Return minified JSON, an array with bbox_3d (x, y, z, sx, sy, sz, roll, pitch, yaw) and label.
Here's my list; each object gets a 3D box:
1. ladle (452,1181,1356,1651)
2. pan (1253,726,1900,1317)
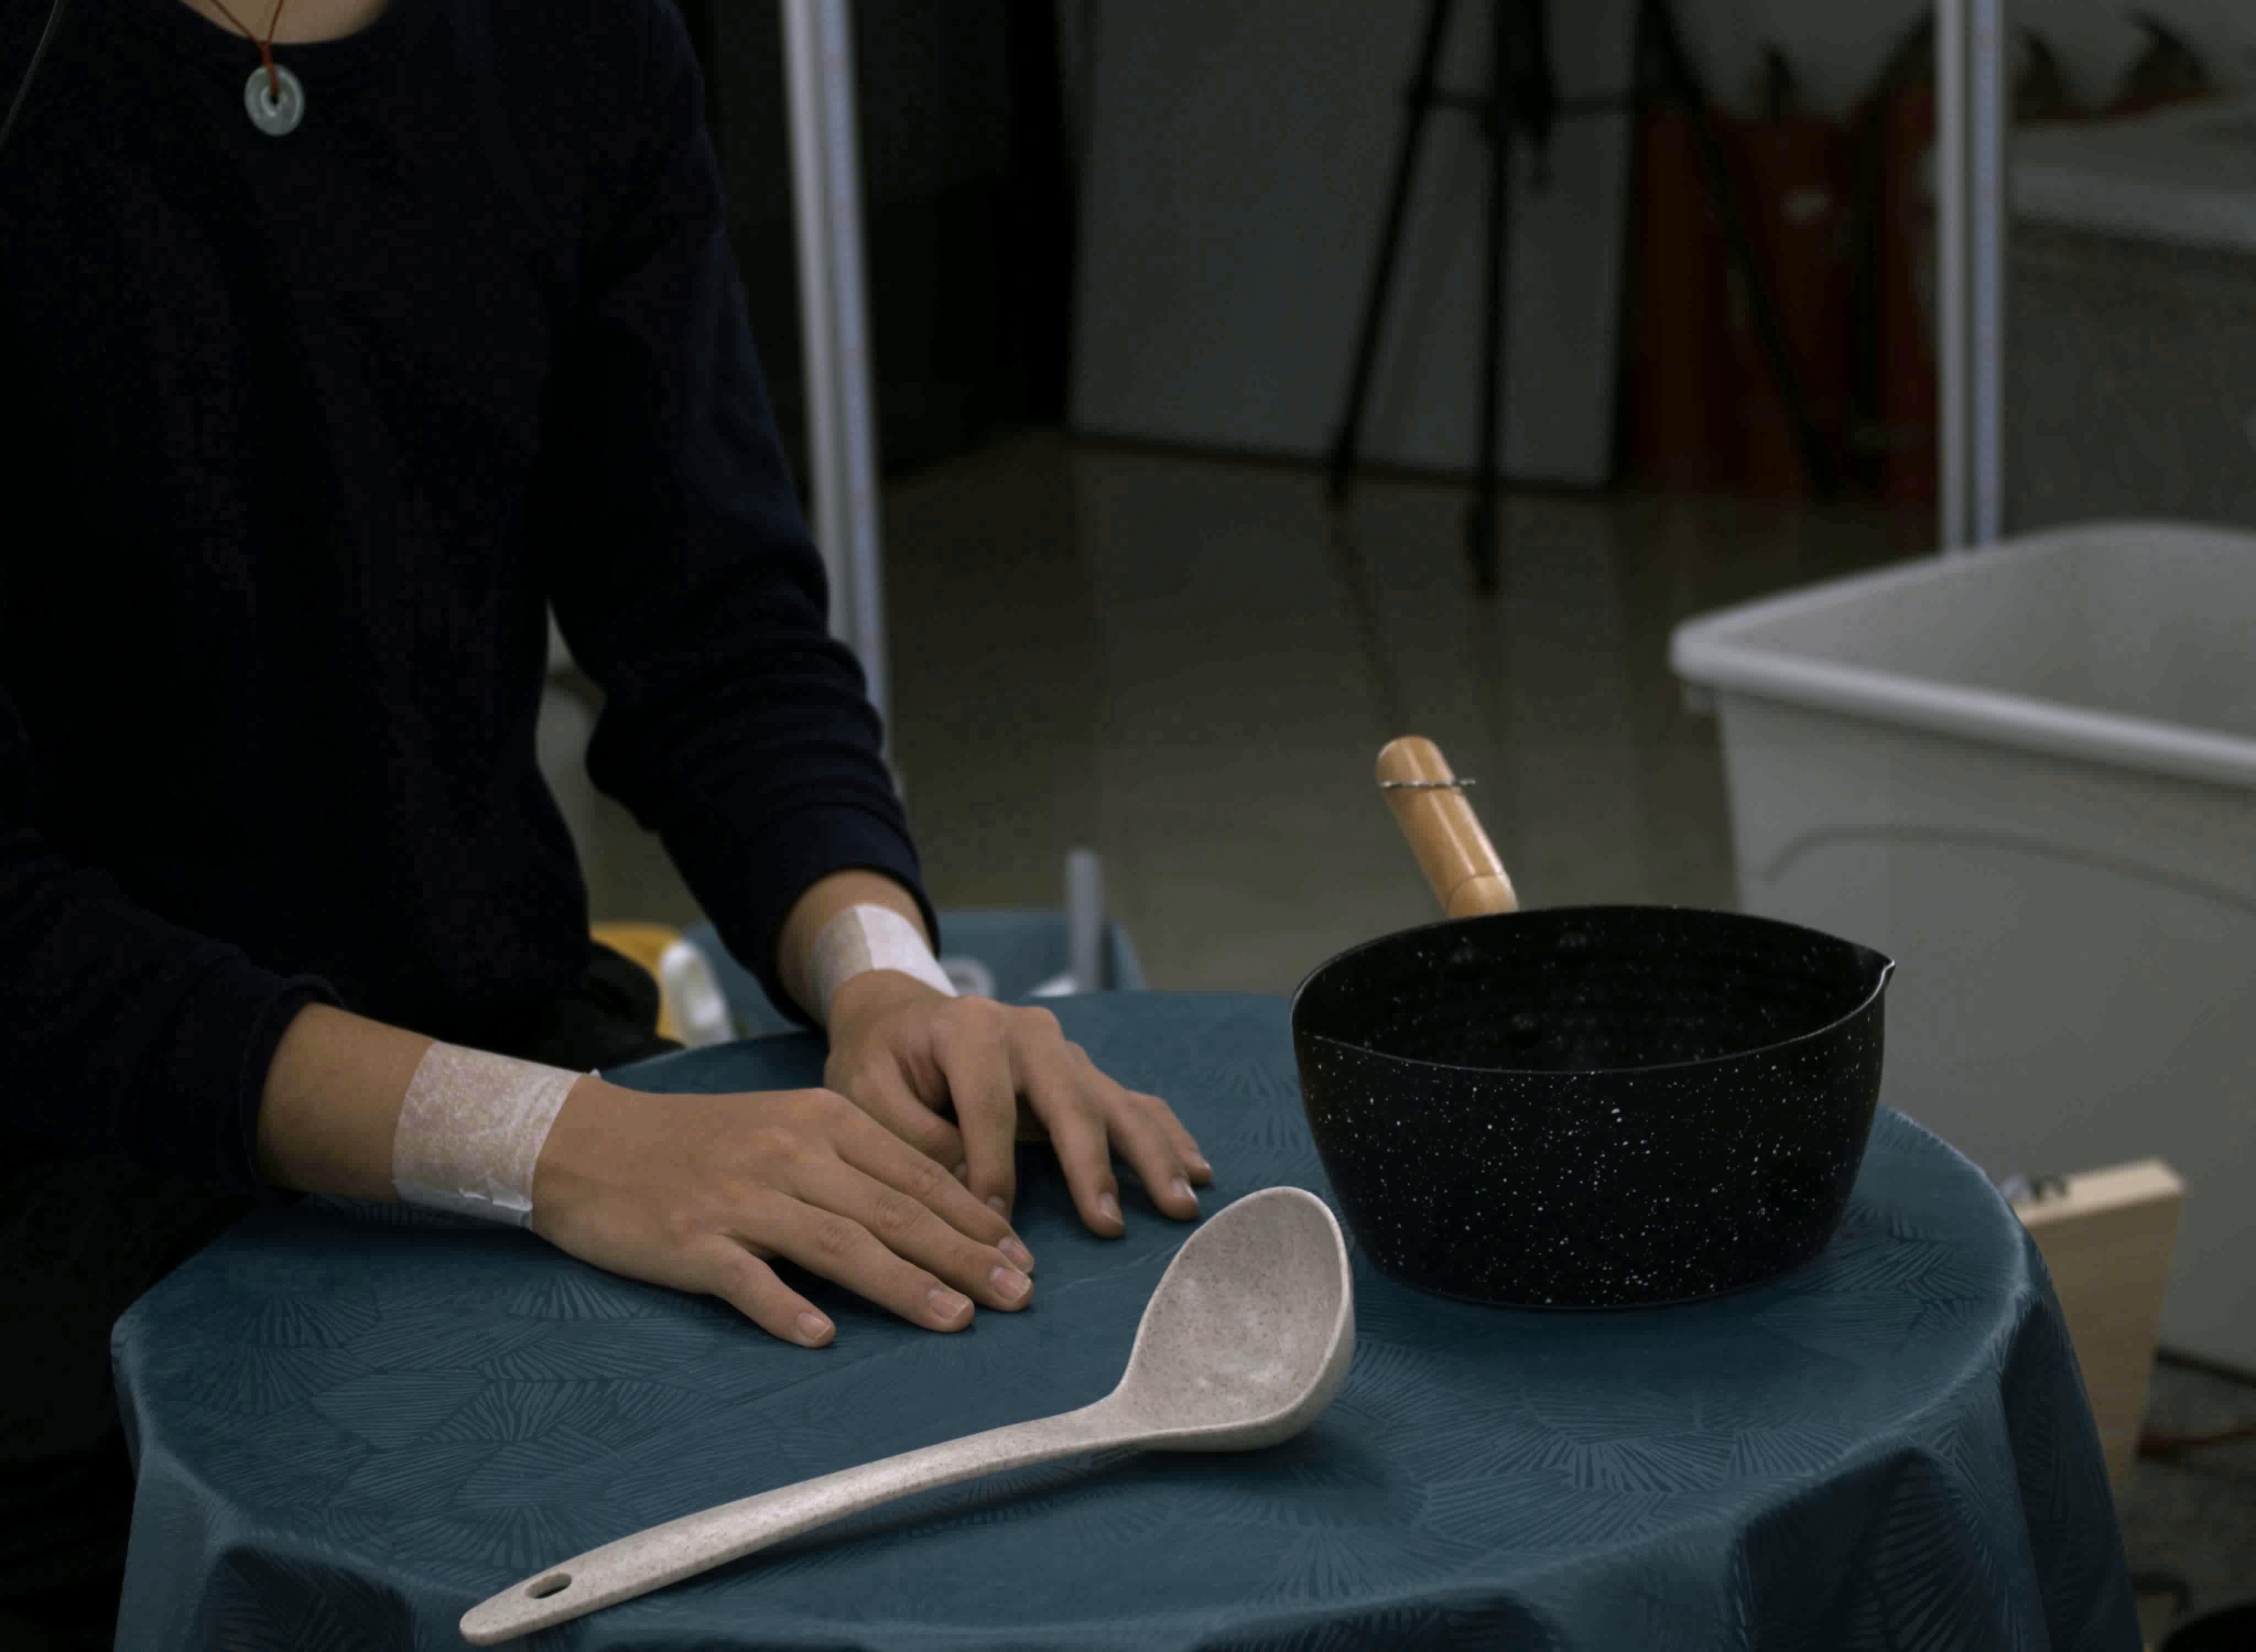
[{"bbox_3d":[-0.061,0.162,1.492,0.269,0.070,0.090,-13,25,-24],"label":"ladle"},{"bbox_3d":[0.129,0.059,1.758,0.204,0.109,0.345,-7,15,-9],"label":"pan"}]
